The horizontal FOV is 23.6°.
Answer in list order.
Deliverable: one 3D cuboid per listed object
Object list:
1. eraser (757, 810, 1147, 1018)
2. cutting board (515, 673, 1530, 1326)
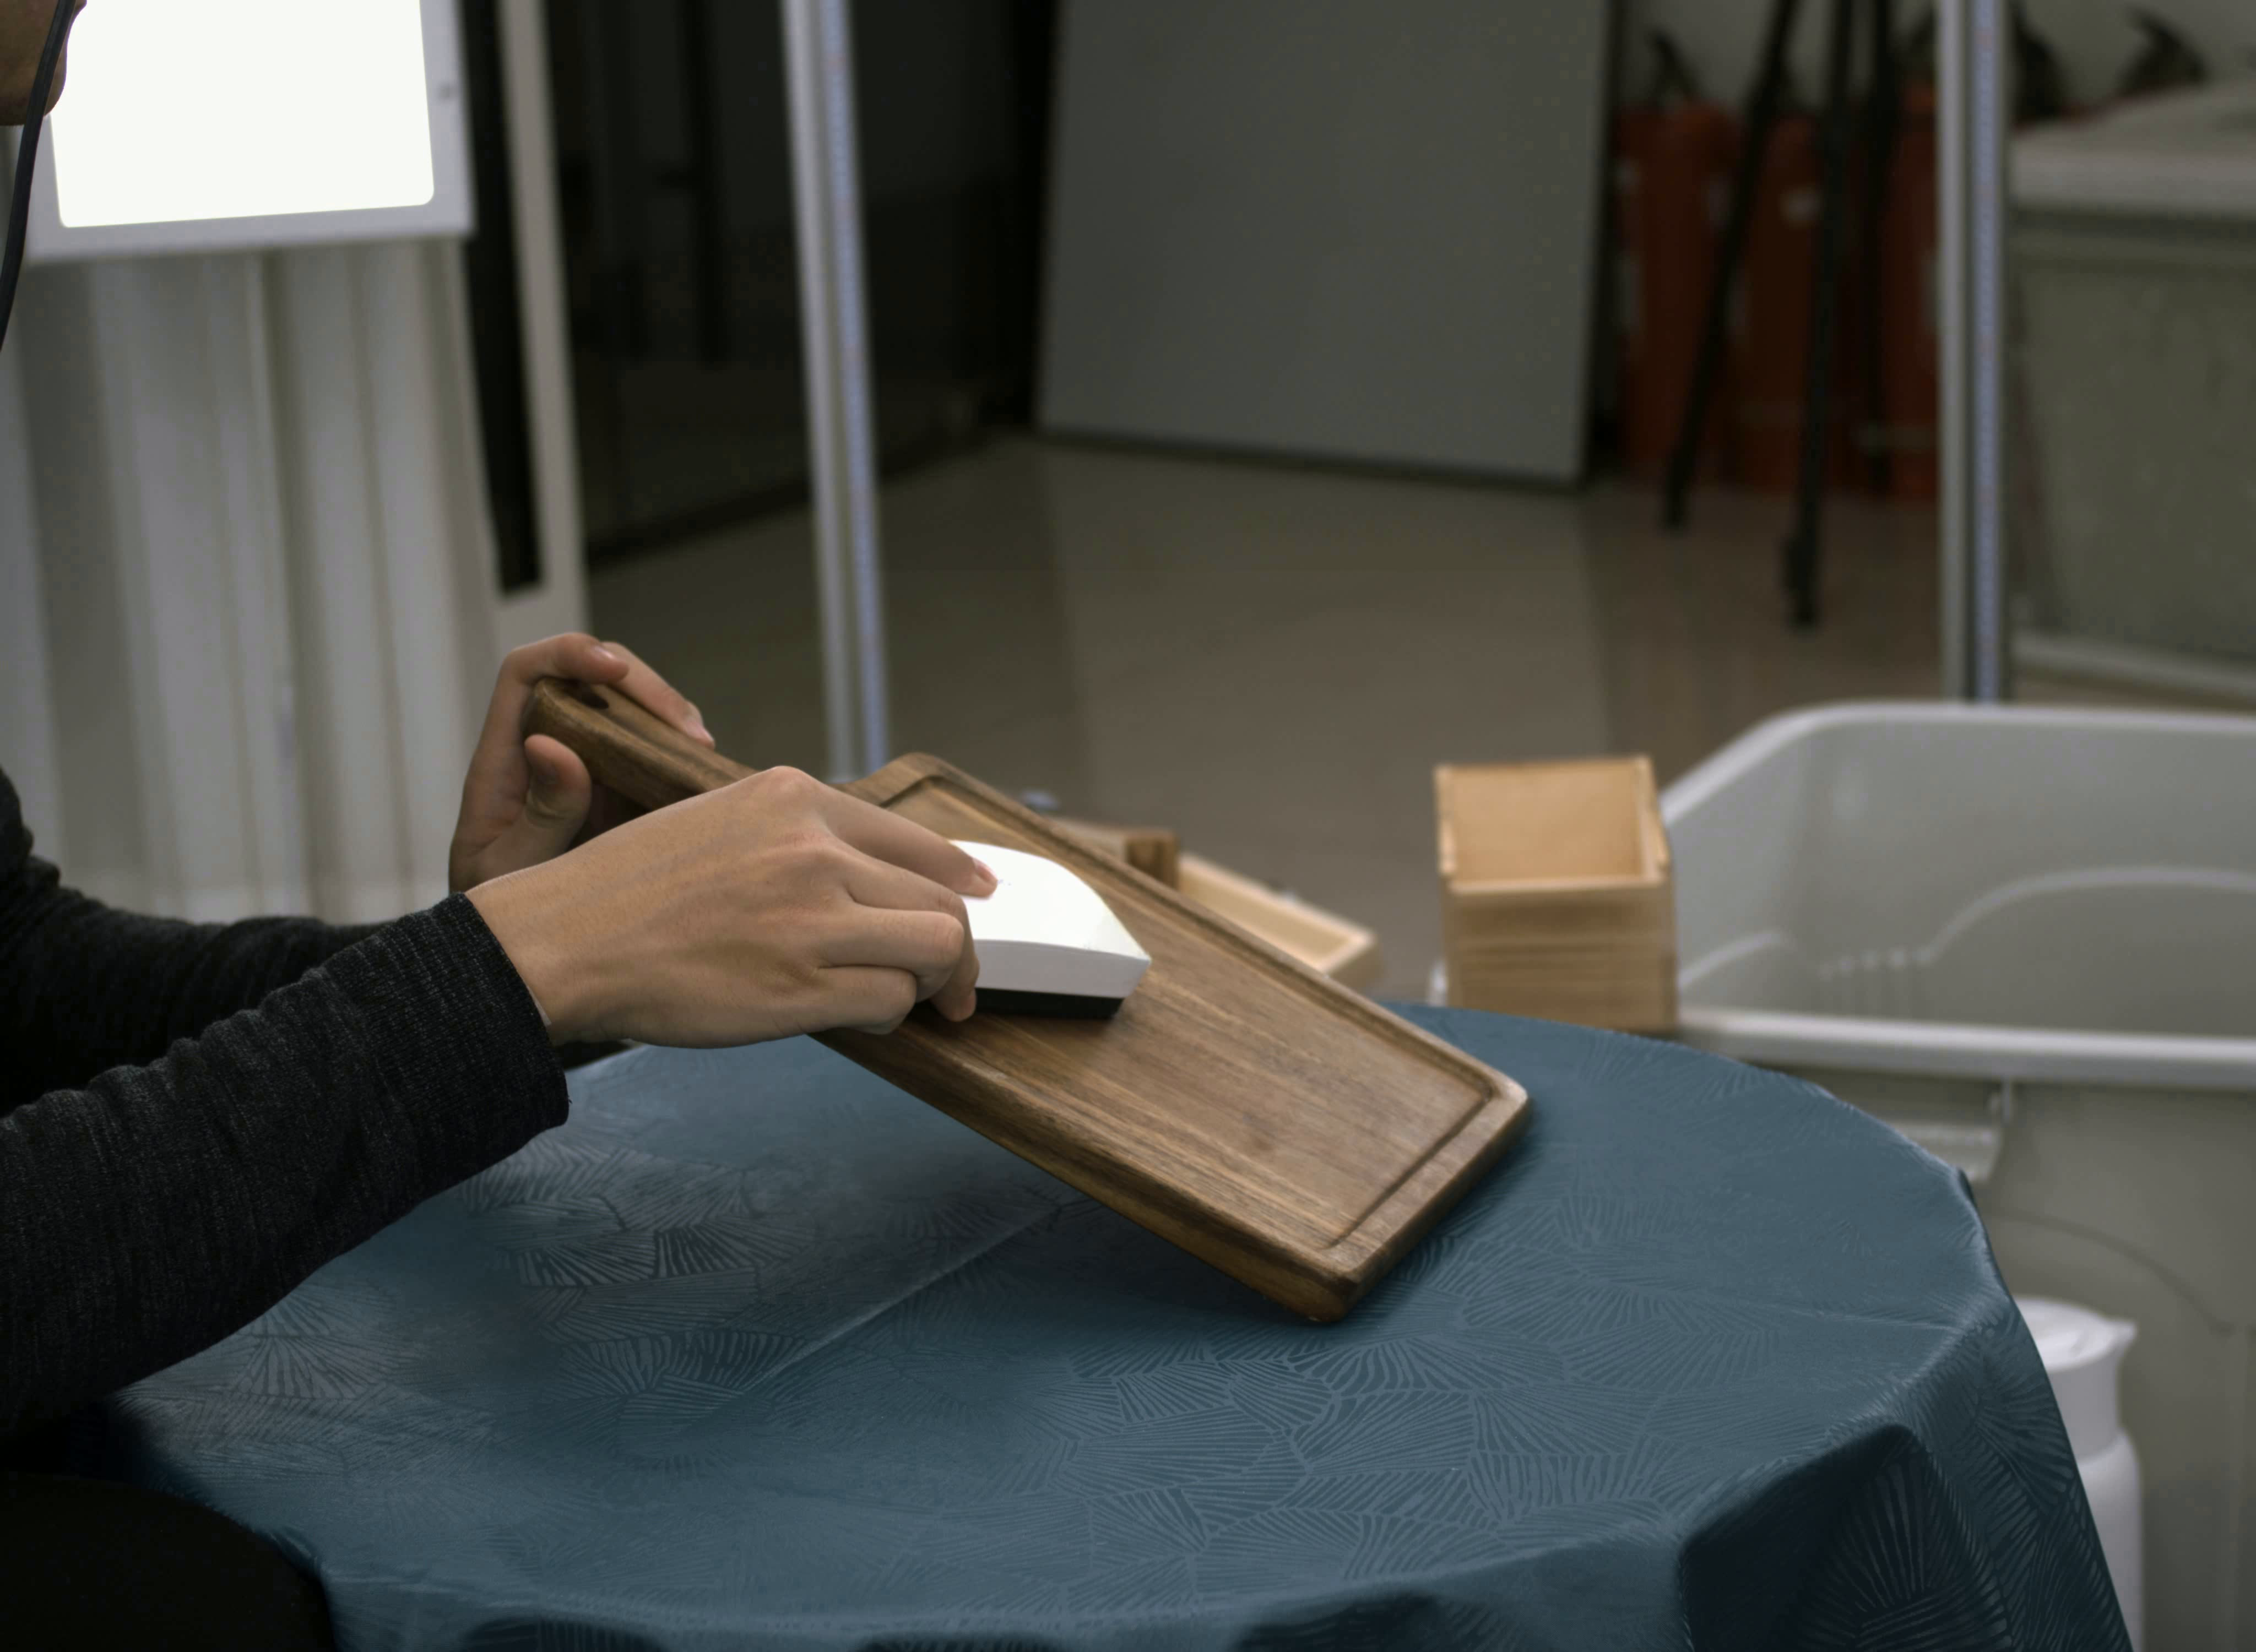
[{"bbox_3d":[-0.056,0.028,1.707,0.128,0.035,0.064,8,27,-40],"label":"eraser"},{"bbox_3d":[-0.047,0.040,1.749,0.352,0.023,0.199,29,23,14],"label":"cutting board"}]
